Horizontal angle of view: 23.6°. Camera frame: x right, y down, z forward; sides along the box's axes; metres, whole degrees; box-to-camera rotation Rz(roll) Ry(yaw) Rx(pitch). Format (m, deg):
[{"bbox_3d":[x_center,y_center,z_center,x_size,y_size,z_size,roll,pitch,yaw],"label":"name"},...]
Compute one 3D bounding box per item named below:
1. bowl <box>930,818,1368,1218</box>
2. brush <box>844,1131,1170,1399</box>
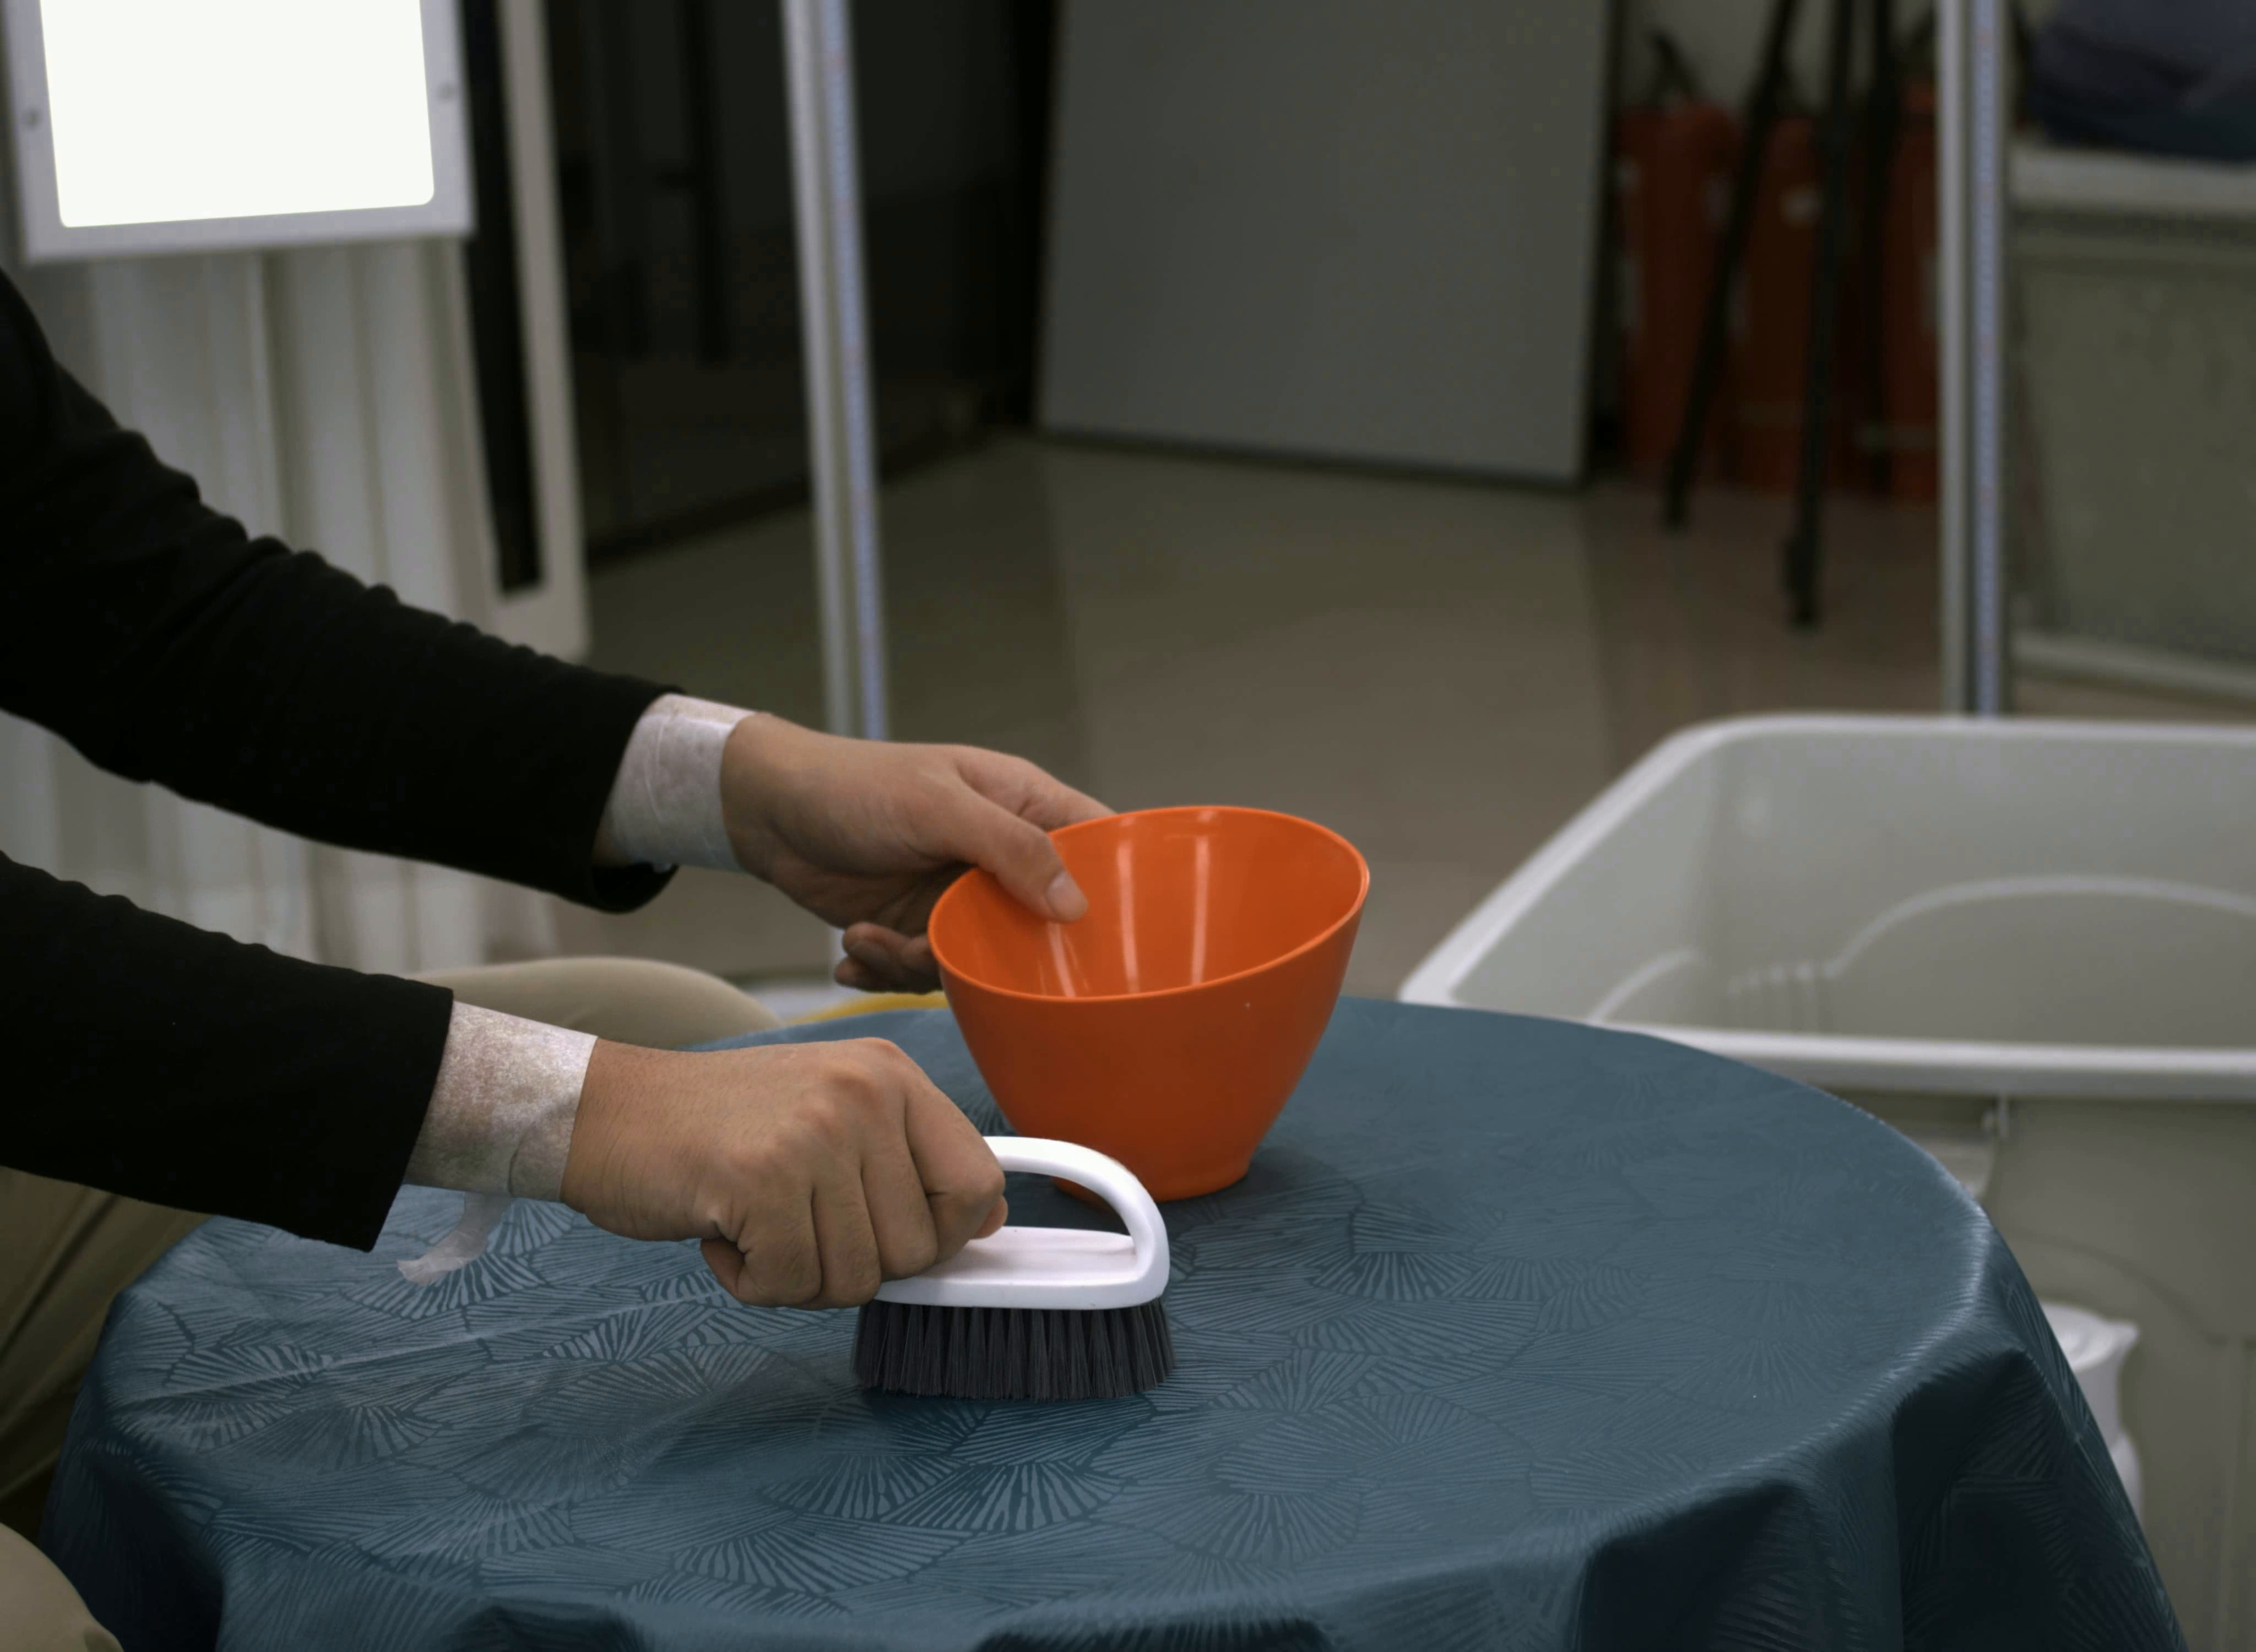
[{"bbox_3d":[0.010,0.067,1.783,0.146,0.106,0.148,-6,14,0],"label":"bowl"},{"bbox_3d":[-0.037,0.126,1.598,0.098,0.073,0.050,1,16,14],"label":"brush"}]
